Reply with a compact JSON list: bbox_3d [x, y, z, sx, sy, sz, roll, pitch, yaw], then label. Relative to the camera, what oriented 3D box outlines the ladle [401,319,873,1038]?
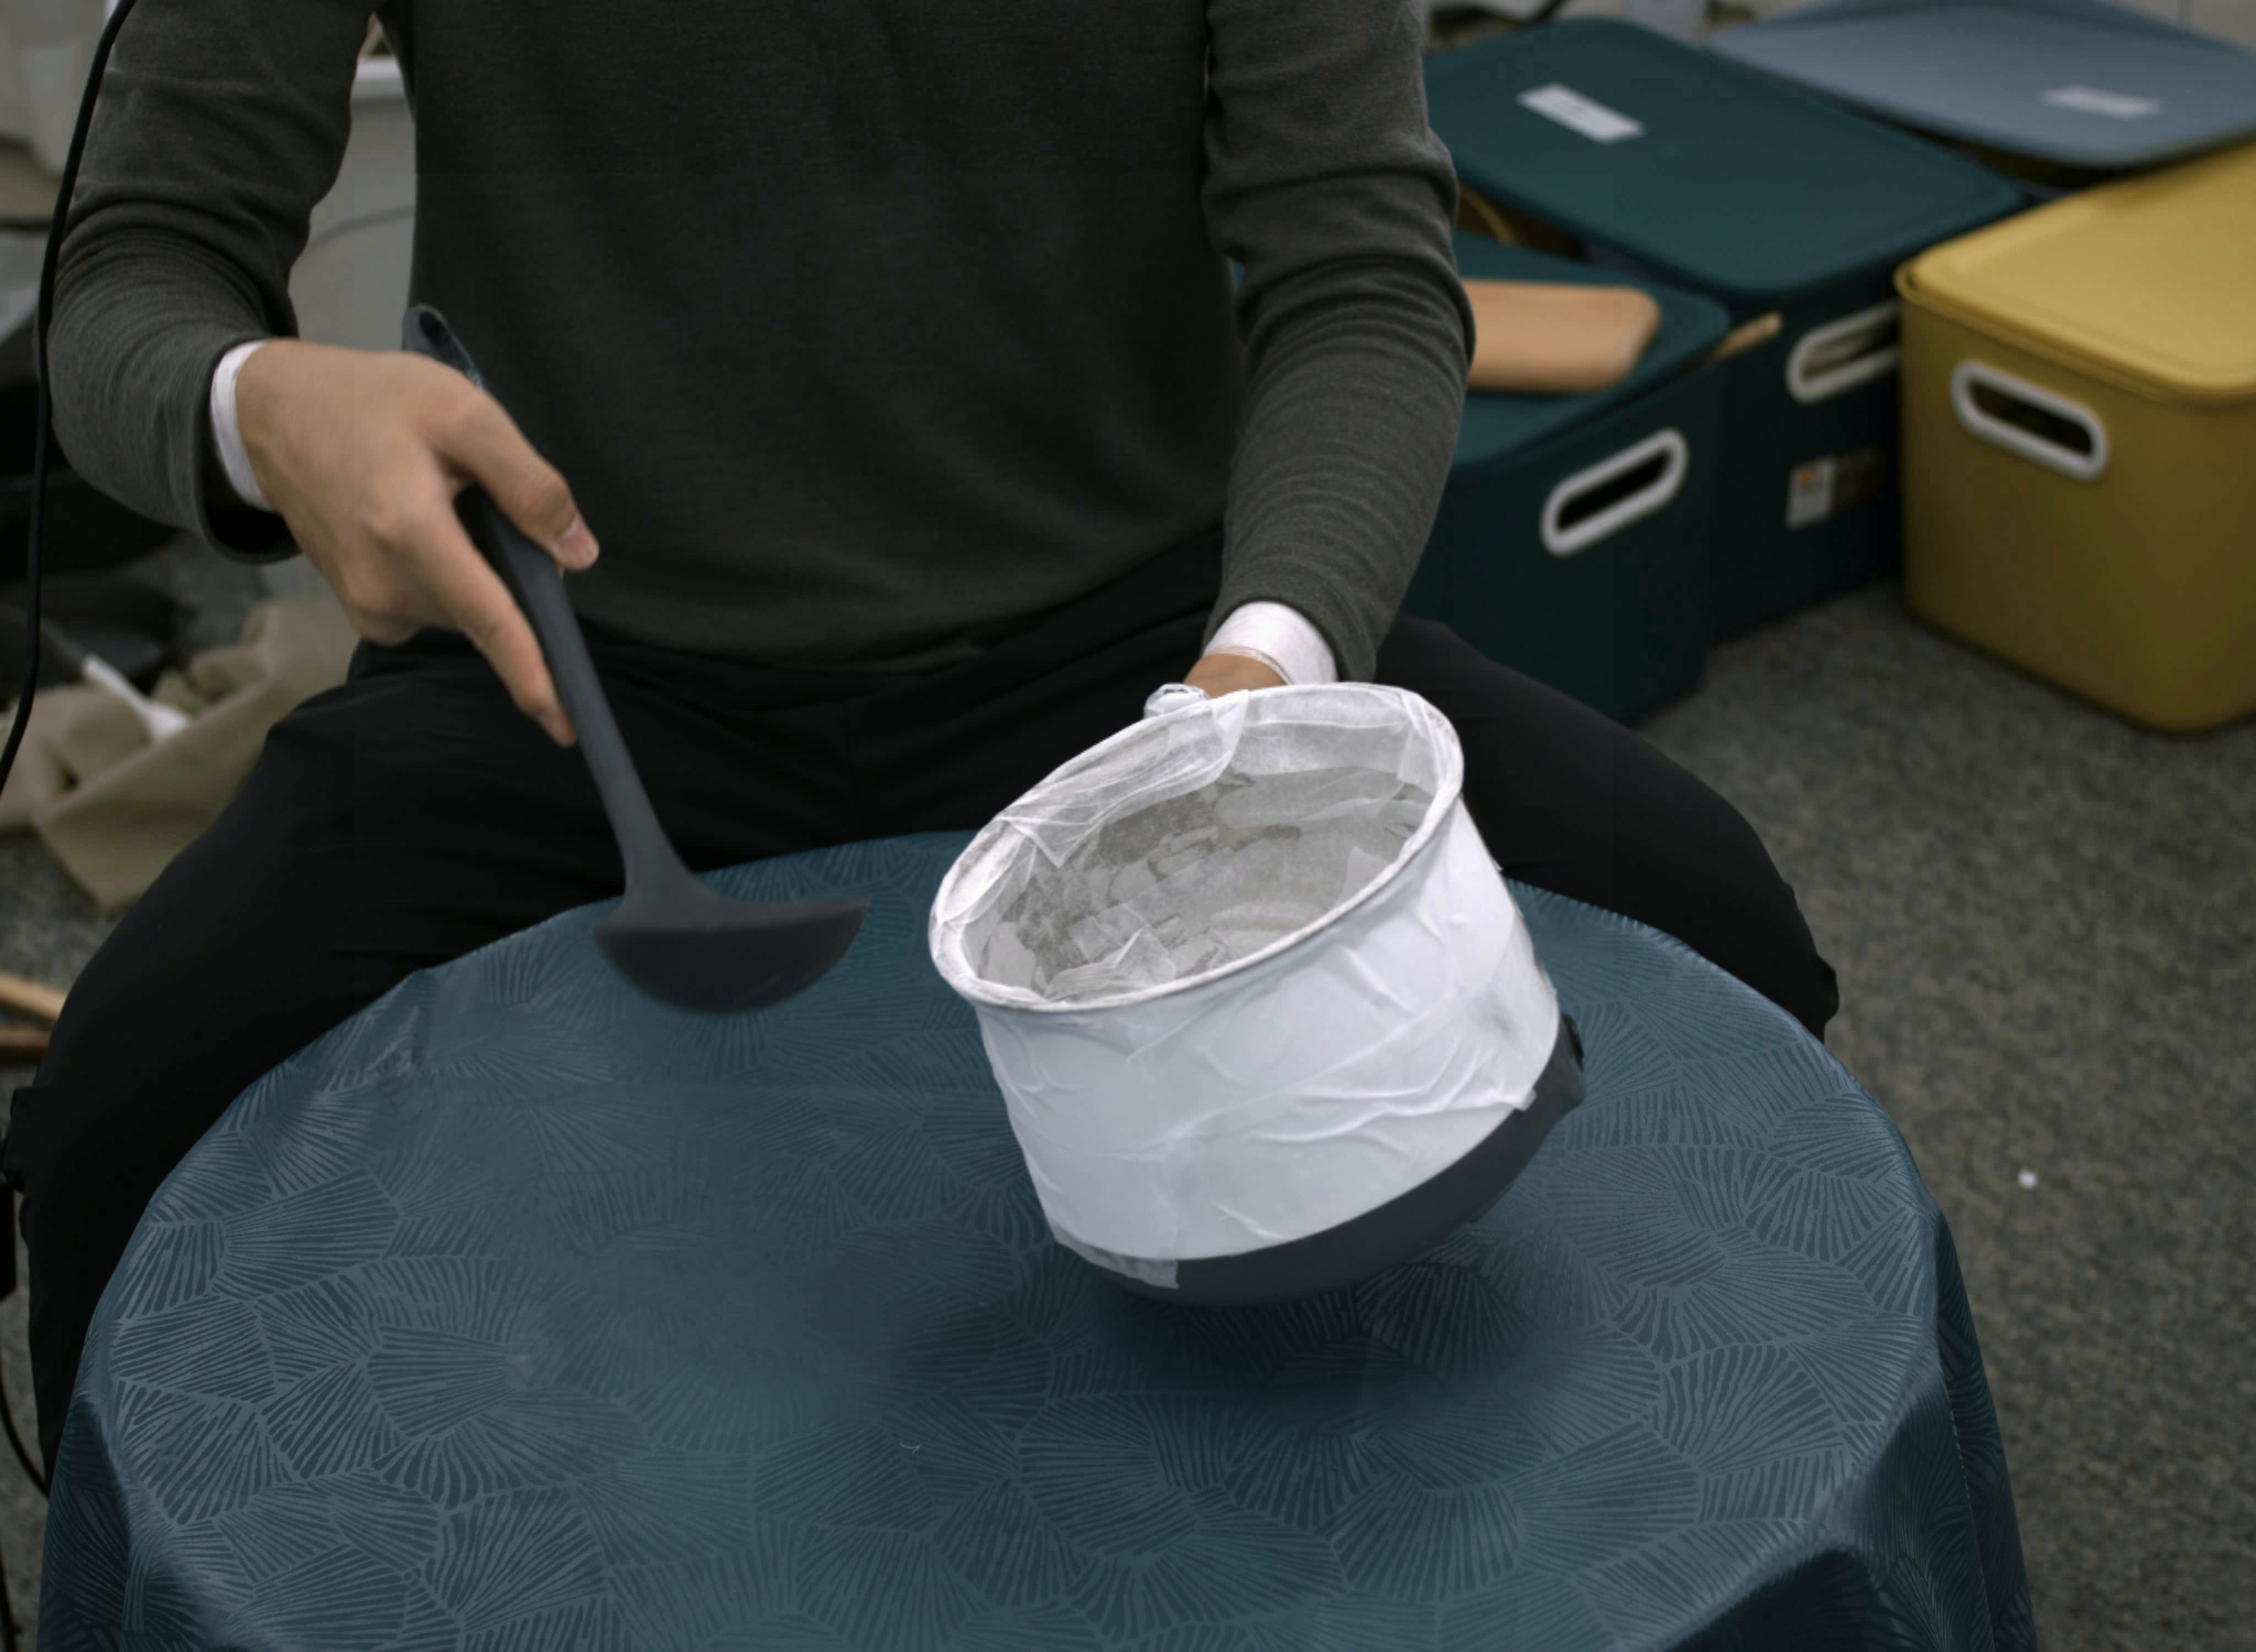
[{"bbox_3d":[-0.169,-0.060,1.765,0.086,0.063,0.318,-2,51,-32],"label":"ladle"}]

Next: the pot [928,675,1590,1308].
[{"bbox_3d":[0.040,0.042,1.791,0.178,0.135,0.237,-20,26,5],"label":"pot"}]
